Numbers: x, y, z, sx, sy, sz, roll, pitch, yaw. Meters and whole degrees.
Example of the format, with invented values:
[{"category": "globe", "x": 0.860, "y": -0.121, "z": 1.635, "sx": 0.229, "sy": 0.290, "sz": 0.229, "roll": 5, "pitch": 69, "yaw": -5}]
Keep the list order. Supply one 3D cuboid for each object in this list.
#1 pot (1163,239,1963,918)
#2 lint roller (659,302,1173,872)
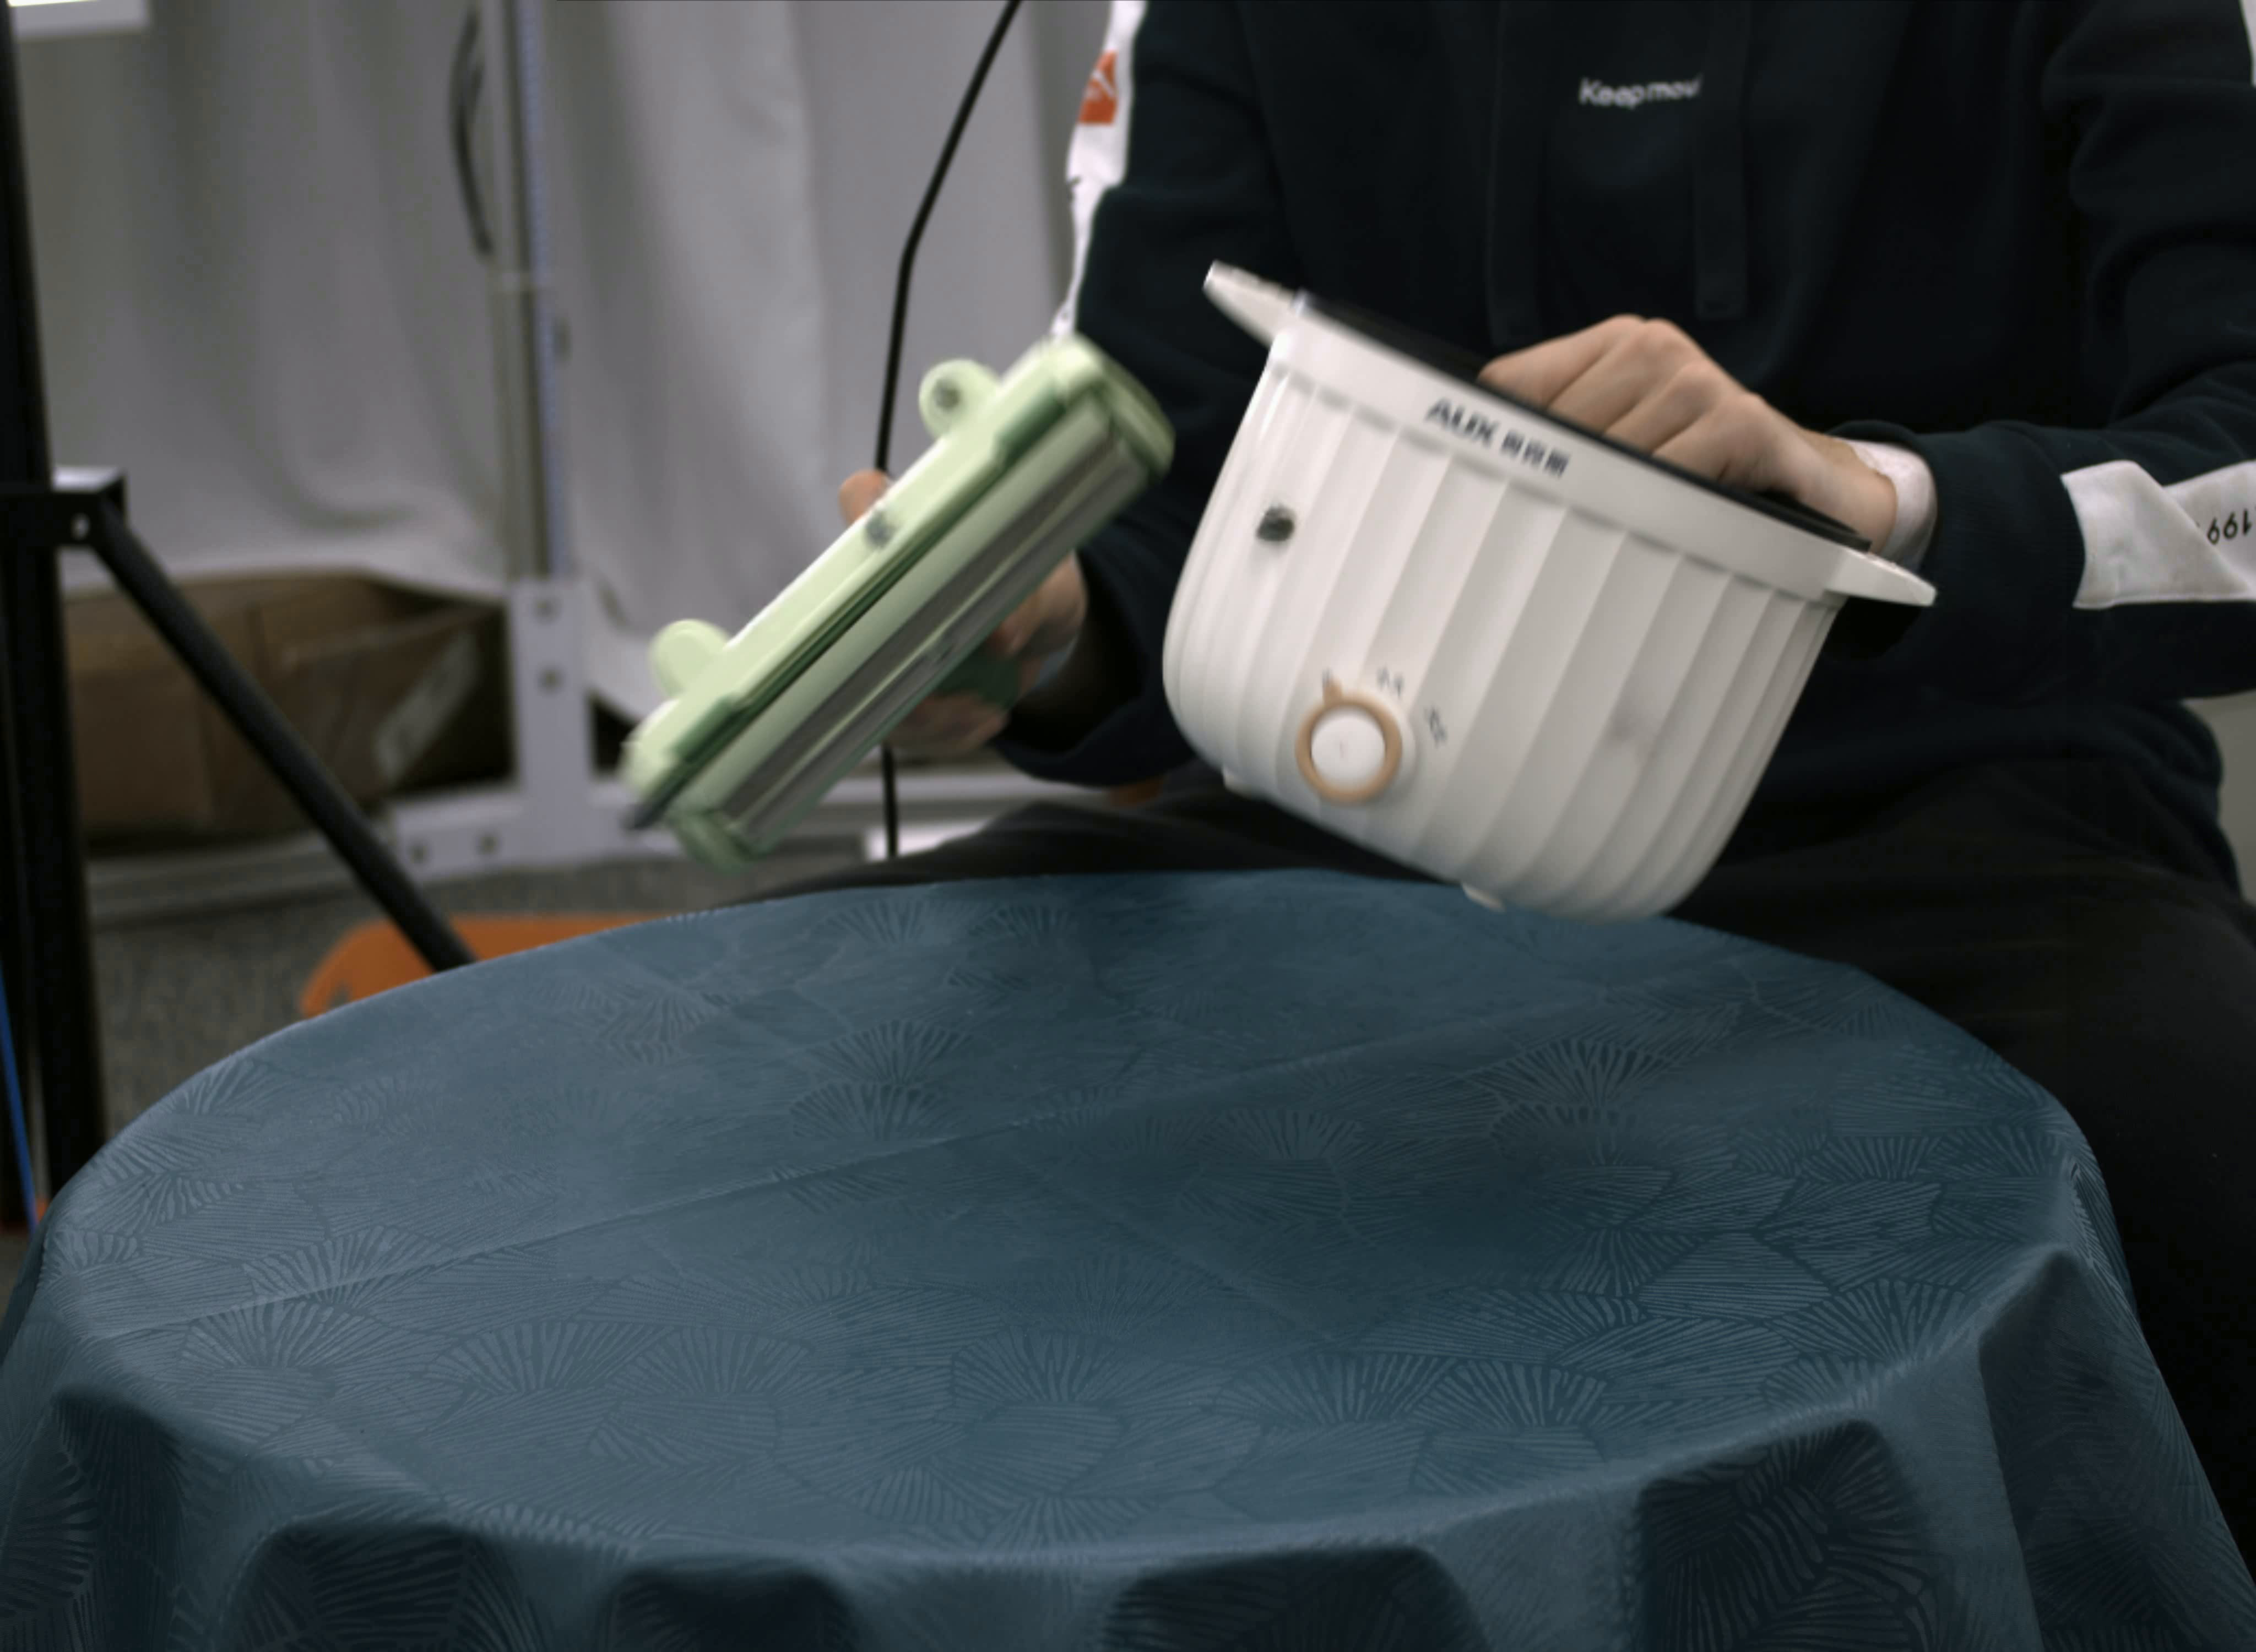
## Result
[{"category": "pot", "x": 0.105, "y": -0.061, "z": 1.528, "sx": 0.243, "sy": 0.143, "sz": 0.188, "roll": 26, "pitch": 4, "yaw": 16}, {"category": "lint roller", "x": -0.069, "y": -0.075, "z": 1.701, "sx": 0.082, "sy": 0.198, "sz": 0.183, "roll": 41, "pitch": -1, "yaw": 3}]
